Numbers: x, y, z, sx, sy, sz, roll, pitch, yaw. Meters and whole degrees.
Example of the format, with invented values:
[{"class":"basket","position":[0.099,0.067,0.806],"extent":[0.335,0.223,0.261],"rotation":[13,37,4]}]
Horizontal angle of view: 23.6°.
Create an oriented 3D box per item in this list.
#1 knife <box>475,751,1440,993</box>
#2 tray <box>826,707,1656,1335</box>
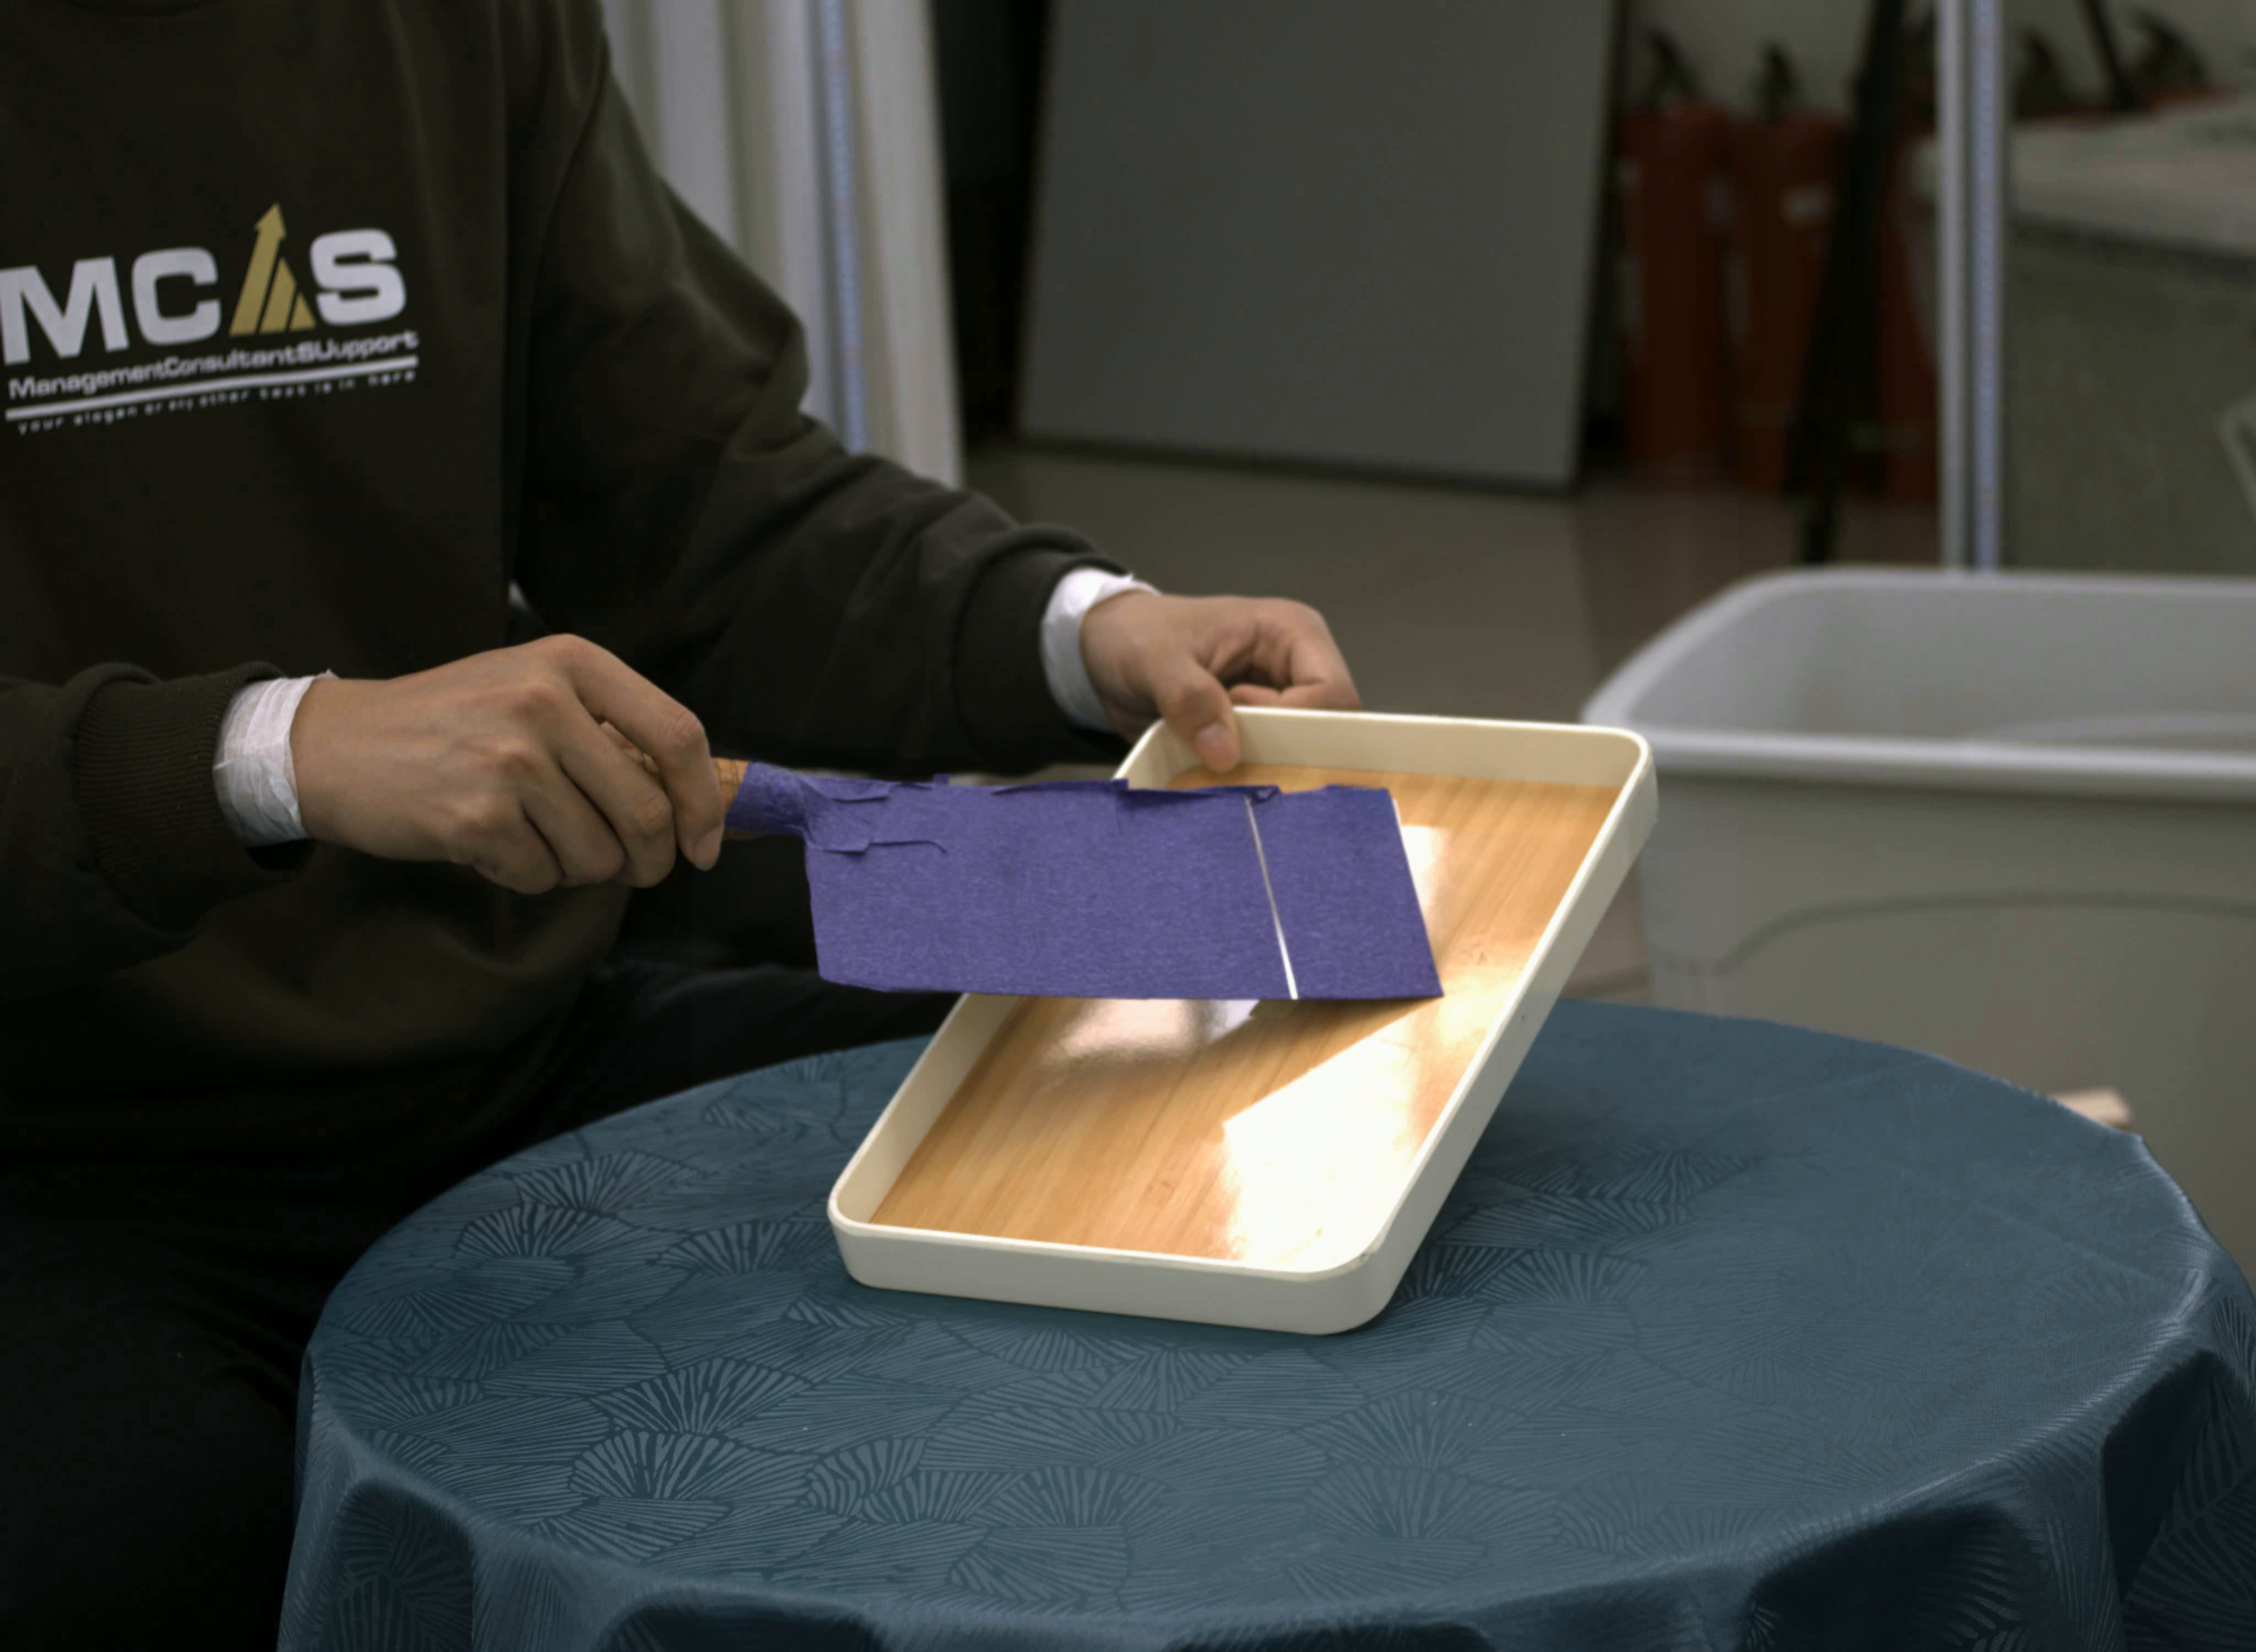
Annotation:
[{"class":"knife","position":[-0.053,0.014,1.748],"extent":[0.309,0.032,0.105],"rotation":[-1,47,-10]},{"class":"tray","position":[0.042,0.056,1.760],"extent":[0.192,0.027,0.298],"rotation":[2,36,27]}]
